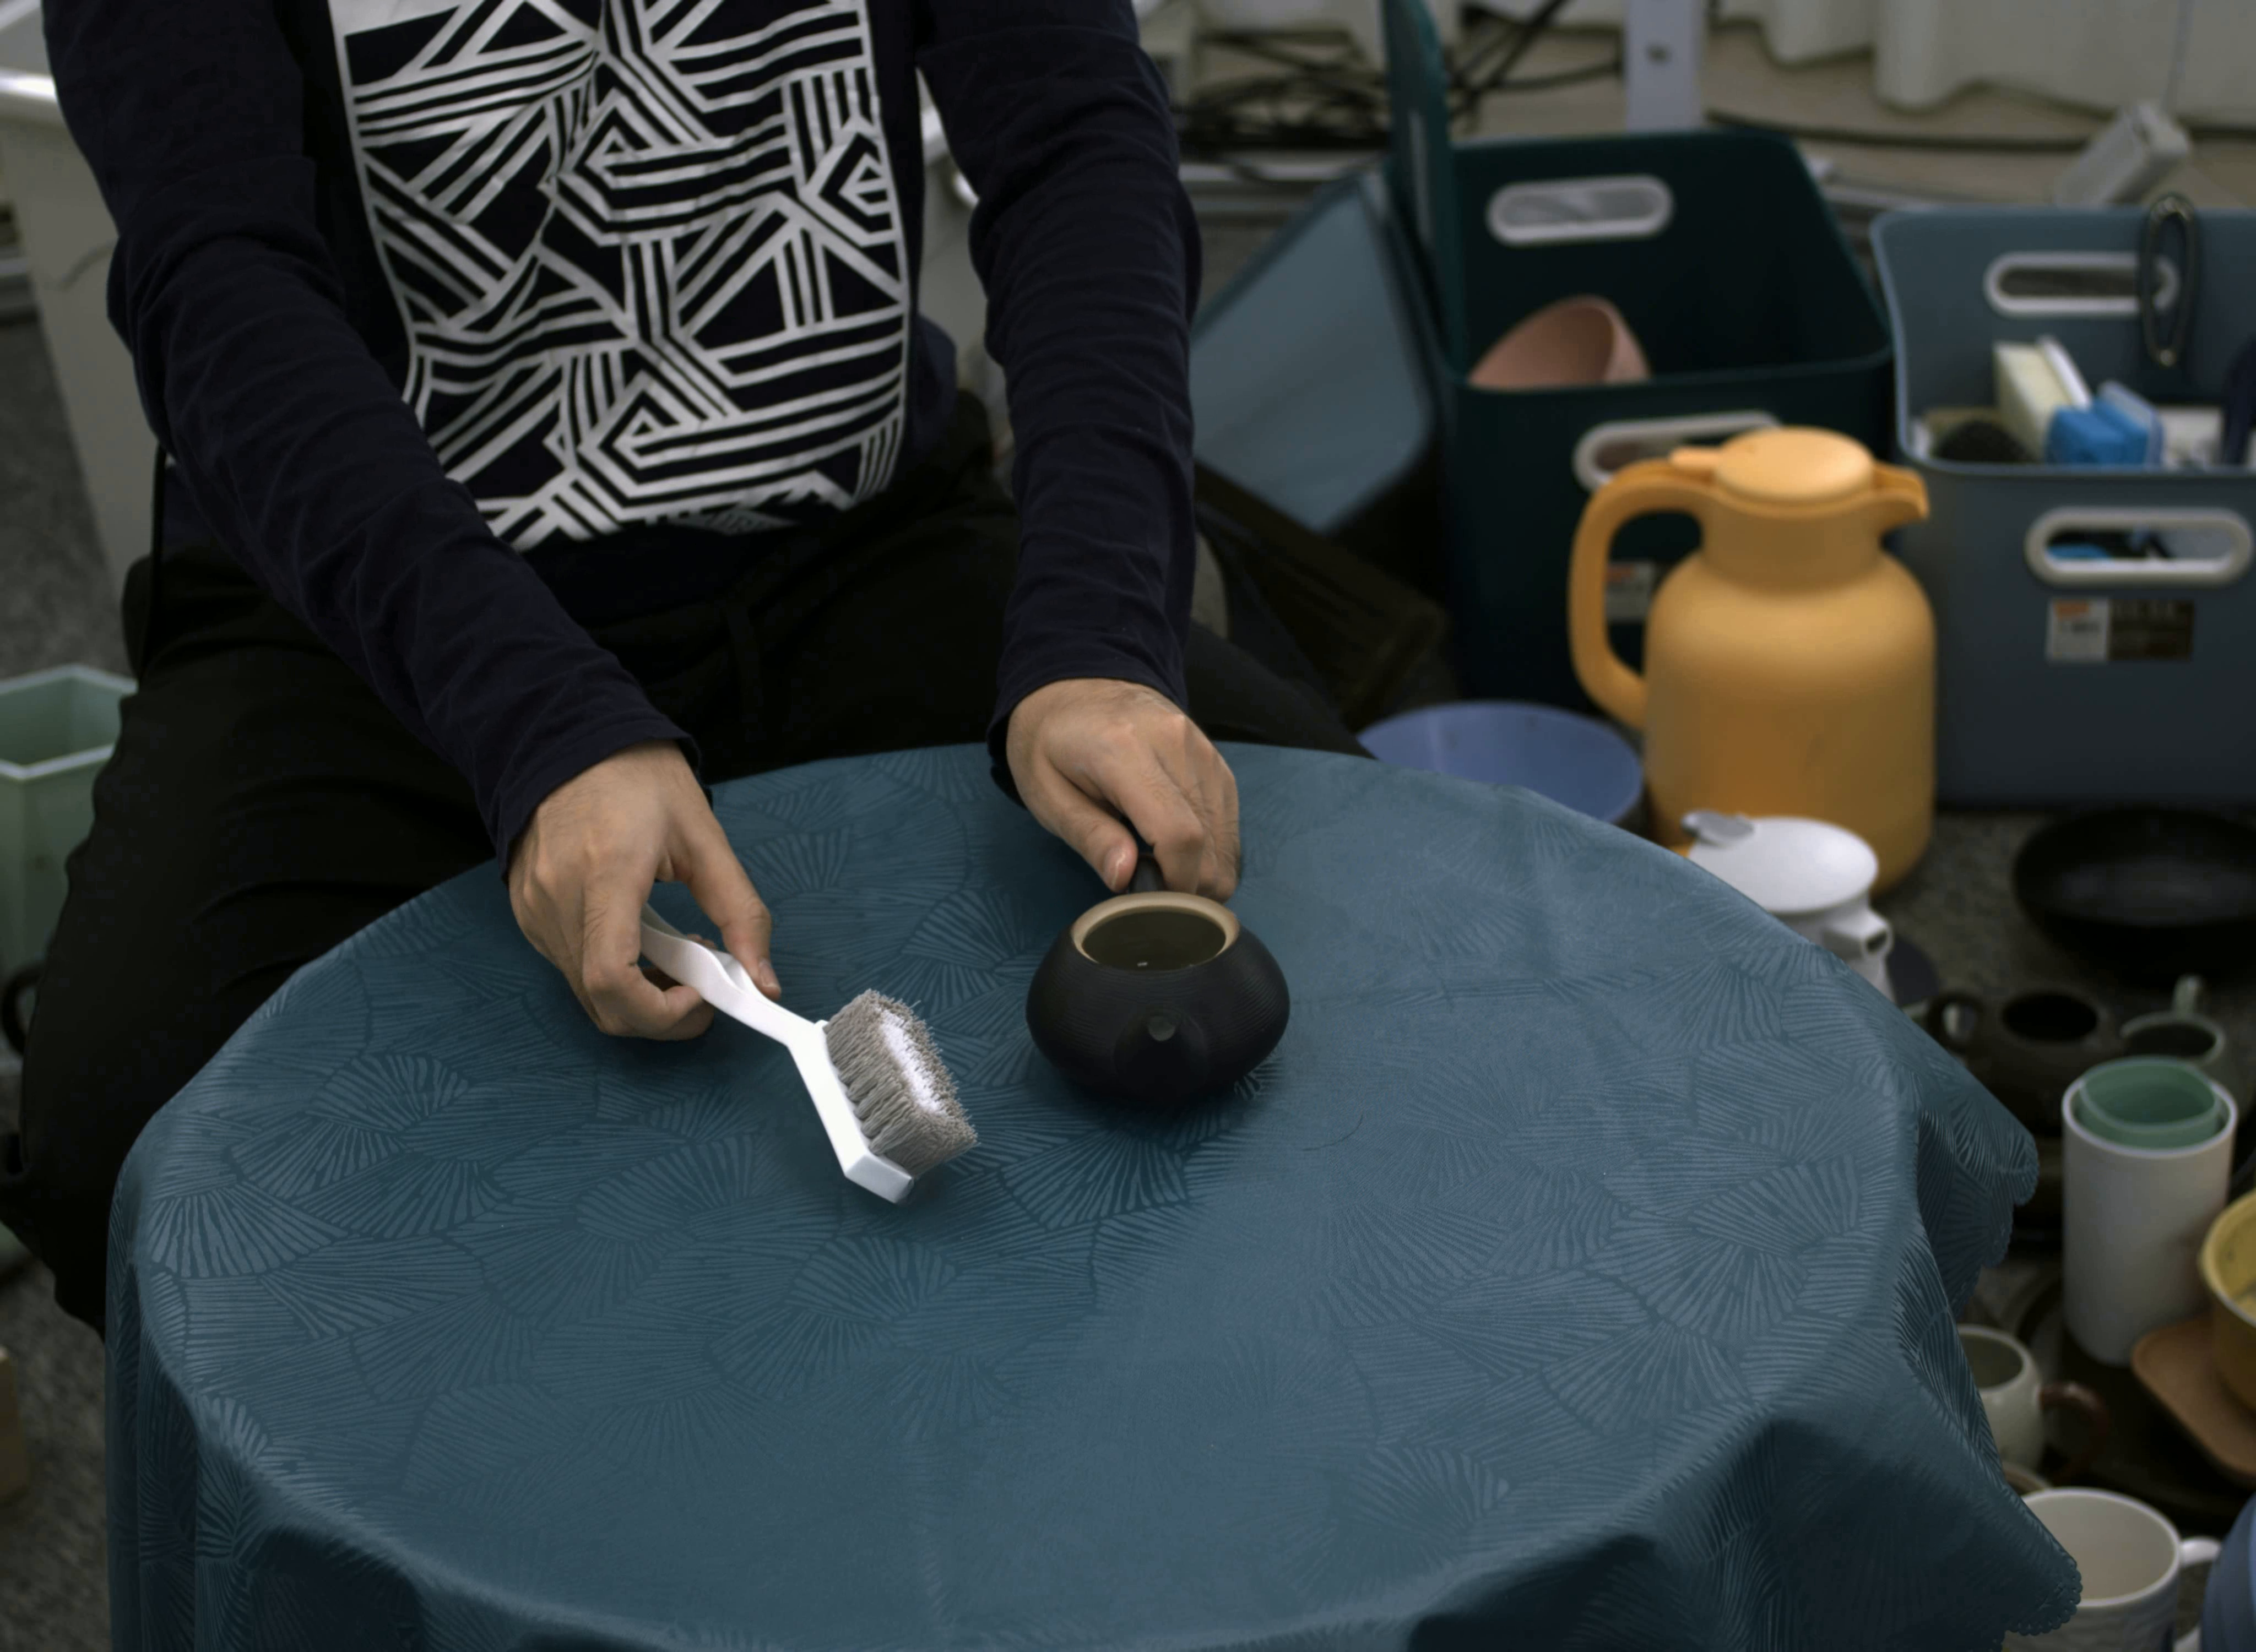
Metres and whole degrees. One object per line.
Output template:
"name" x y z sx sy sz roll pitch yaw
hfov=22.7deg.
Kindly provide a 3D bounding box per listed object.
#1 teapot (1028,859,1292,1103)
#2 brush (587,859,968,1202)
"teapot" 0.011 0.059 1.923 0.090 0.052 0.135 -1 27 -3
"brush" -0.123 0.053 1.928 0.034 0.050 0.245 16 18 -37
